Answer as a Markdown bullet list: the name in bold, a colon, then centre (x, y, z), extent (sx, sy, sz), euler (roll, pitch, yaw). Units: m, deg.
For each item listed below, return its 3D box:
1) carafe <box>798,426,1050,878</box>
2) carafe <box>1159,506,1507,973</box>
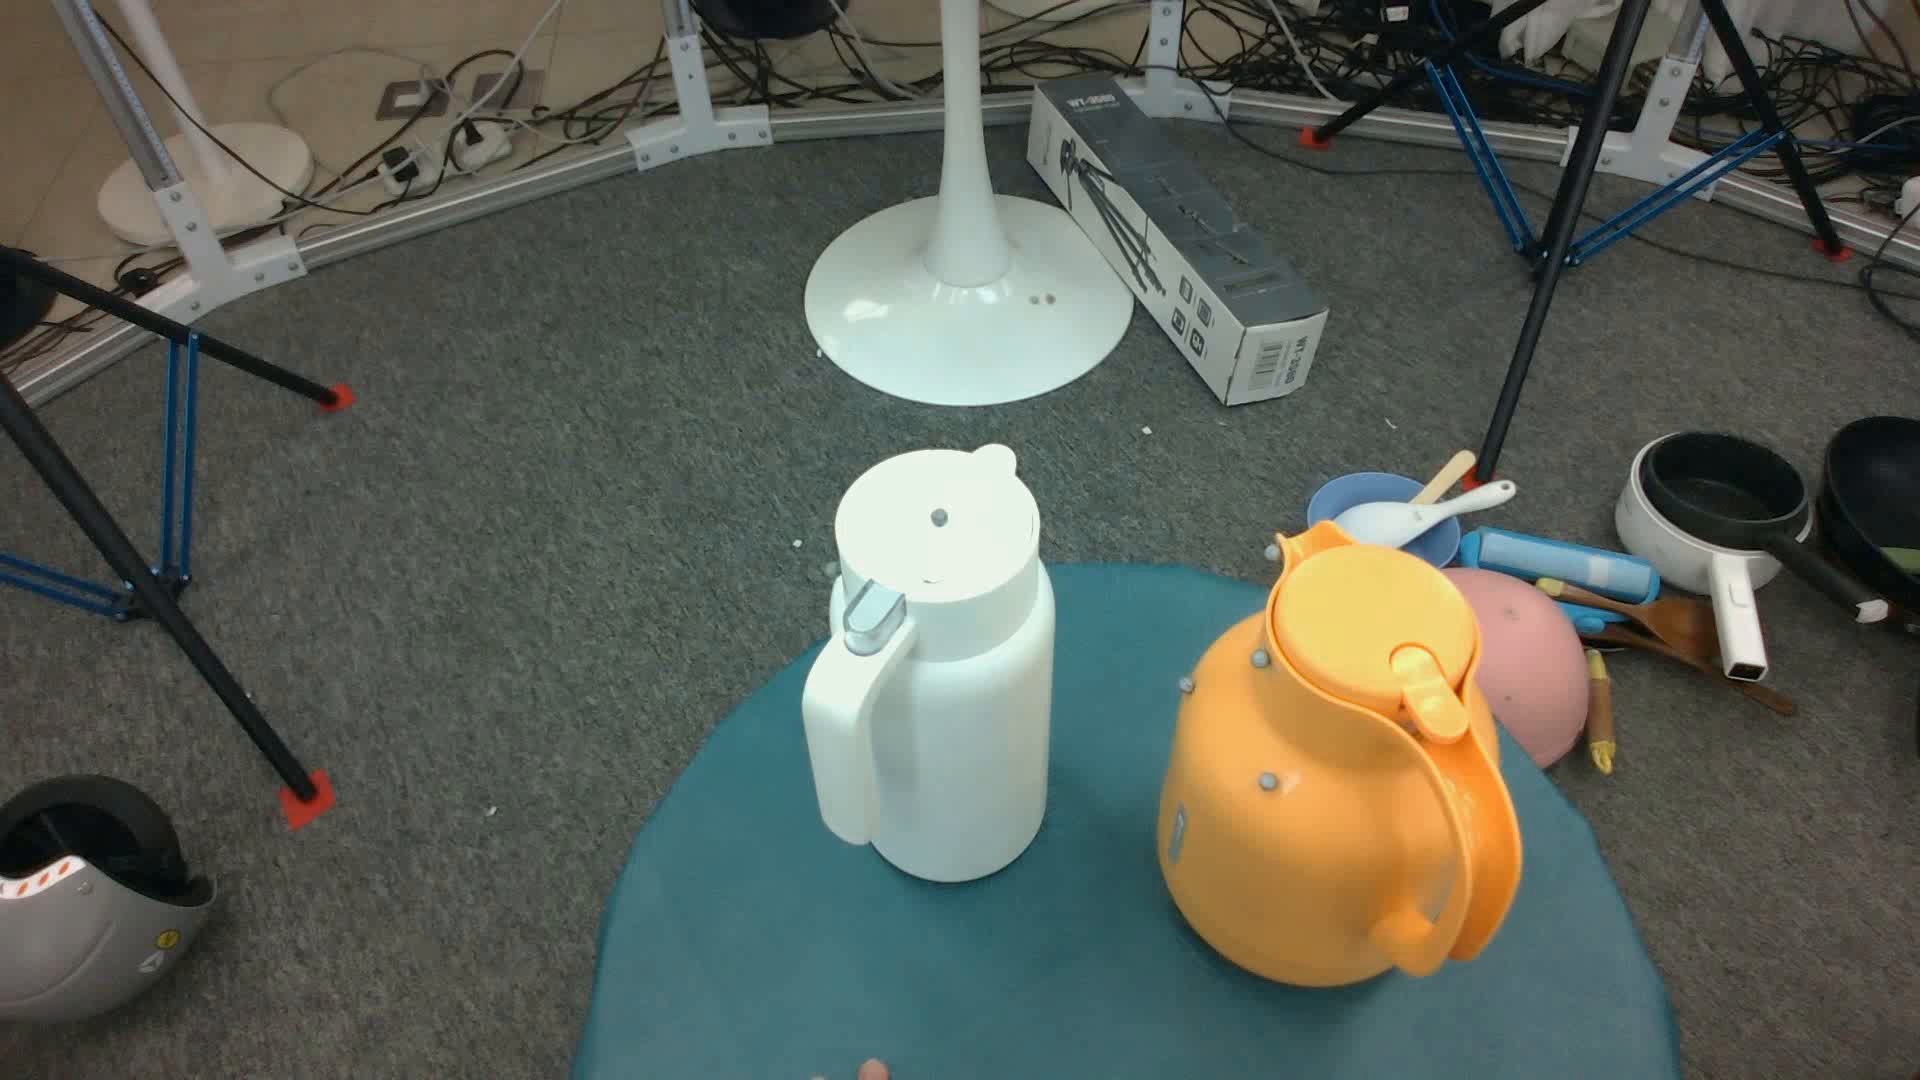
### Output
- **carafe**: centre (-0.019, 0.085, 0.744), extent (0.124, 0.267, 0.173), euler (23, 53, 17)
- **carafe**: centre (0.196, 0.122, 0.712), extent (0.163, 0.259, 0.203), euler (-15, 49, -8)
